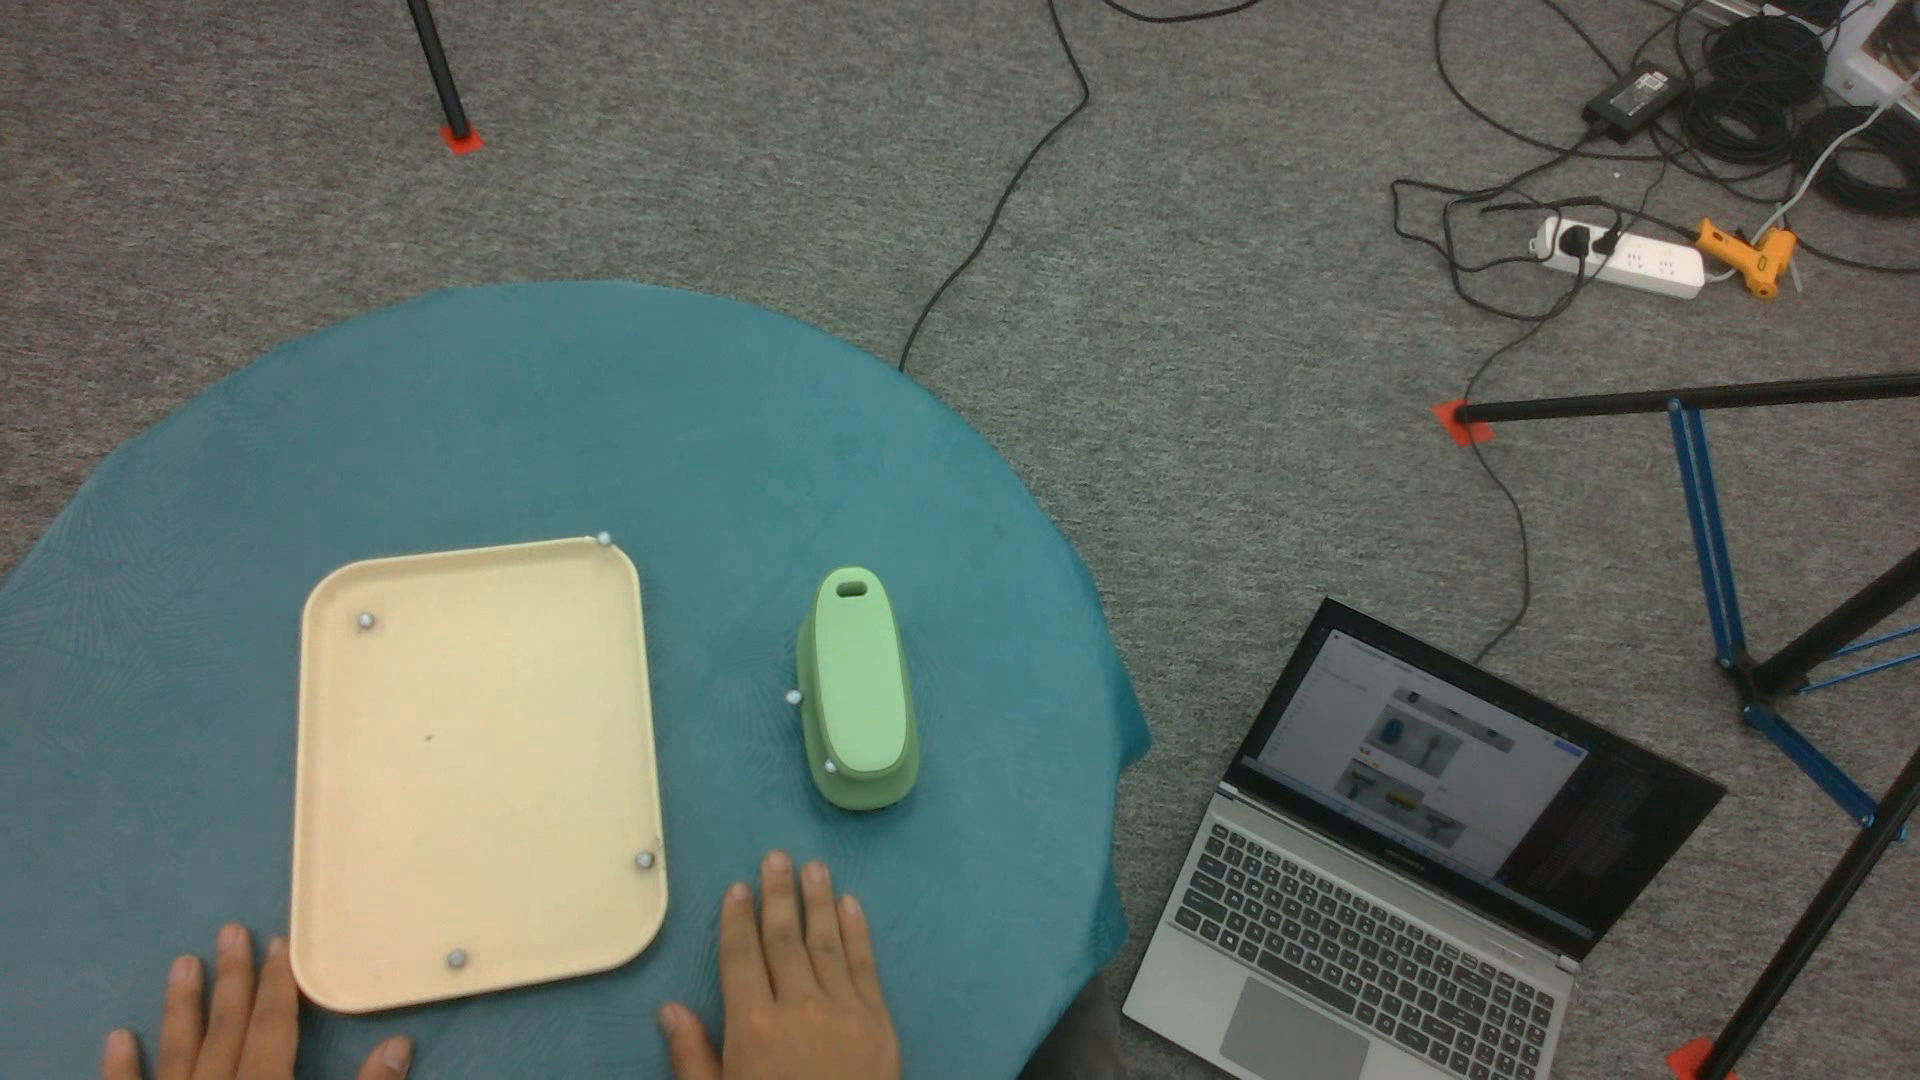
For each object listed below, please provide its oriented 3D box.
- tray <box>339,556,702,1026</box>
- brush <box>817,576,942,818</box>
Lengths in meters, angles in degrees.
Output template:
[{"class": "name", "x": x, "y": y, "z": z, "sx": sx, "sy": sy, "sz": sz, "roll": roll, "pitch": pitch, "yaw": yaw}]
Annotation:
[{"class": "tray", "x": -0.231, "y": 0.121, "z": 0.716, "sx": 0.171, "sy": 0.017, "sz": 0.240, "roll": -9, "pitch": 59, "yaw": -11}, {"class": "brush", "x": -0.044, "y": 0.087, "z": 0.737, "sx": 0.059, "sy": 0.075, "sz": 0.123, "roll": -8, "pitch": 73, "yaw": -10}]
